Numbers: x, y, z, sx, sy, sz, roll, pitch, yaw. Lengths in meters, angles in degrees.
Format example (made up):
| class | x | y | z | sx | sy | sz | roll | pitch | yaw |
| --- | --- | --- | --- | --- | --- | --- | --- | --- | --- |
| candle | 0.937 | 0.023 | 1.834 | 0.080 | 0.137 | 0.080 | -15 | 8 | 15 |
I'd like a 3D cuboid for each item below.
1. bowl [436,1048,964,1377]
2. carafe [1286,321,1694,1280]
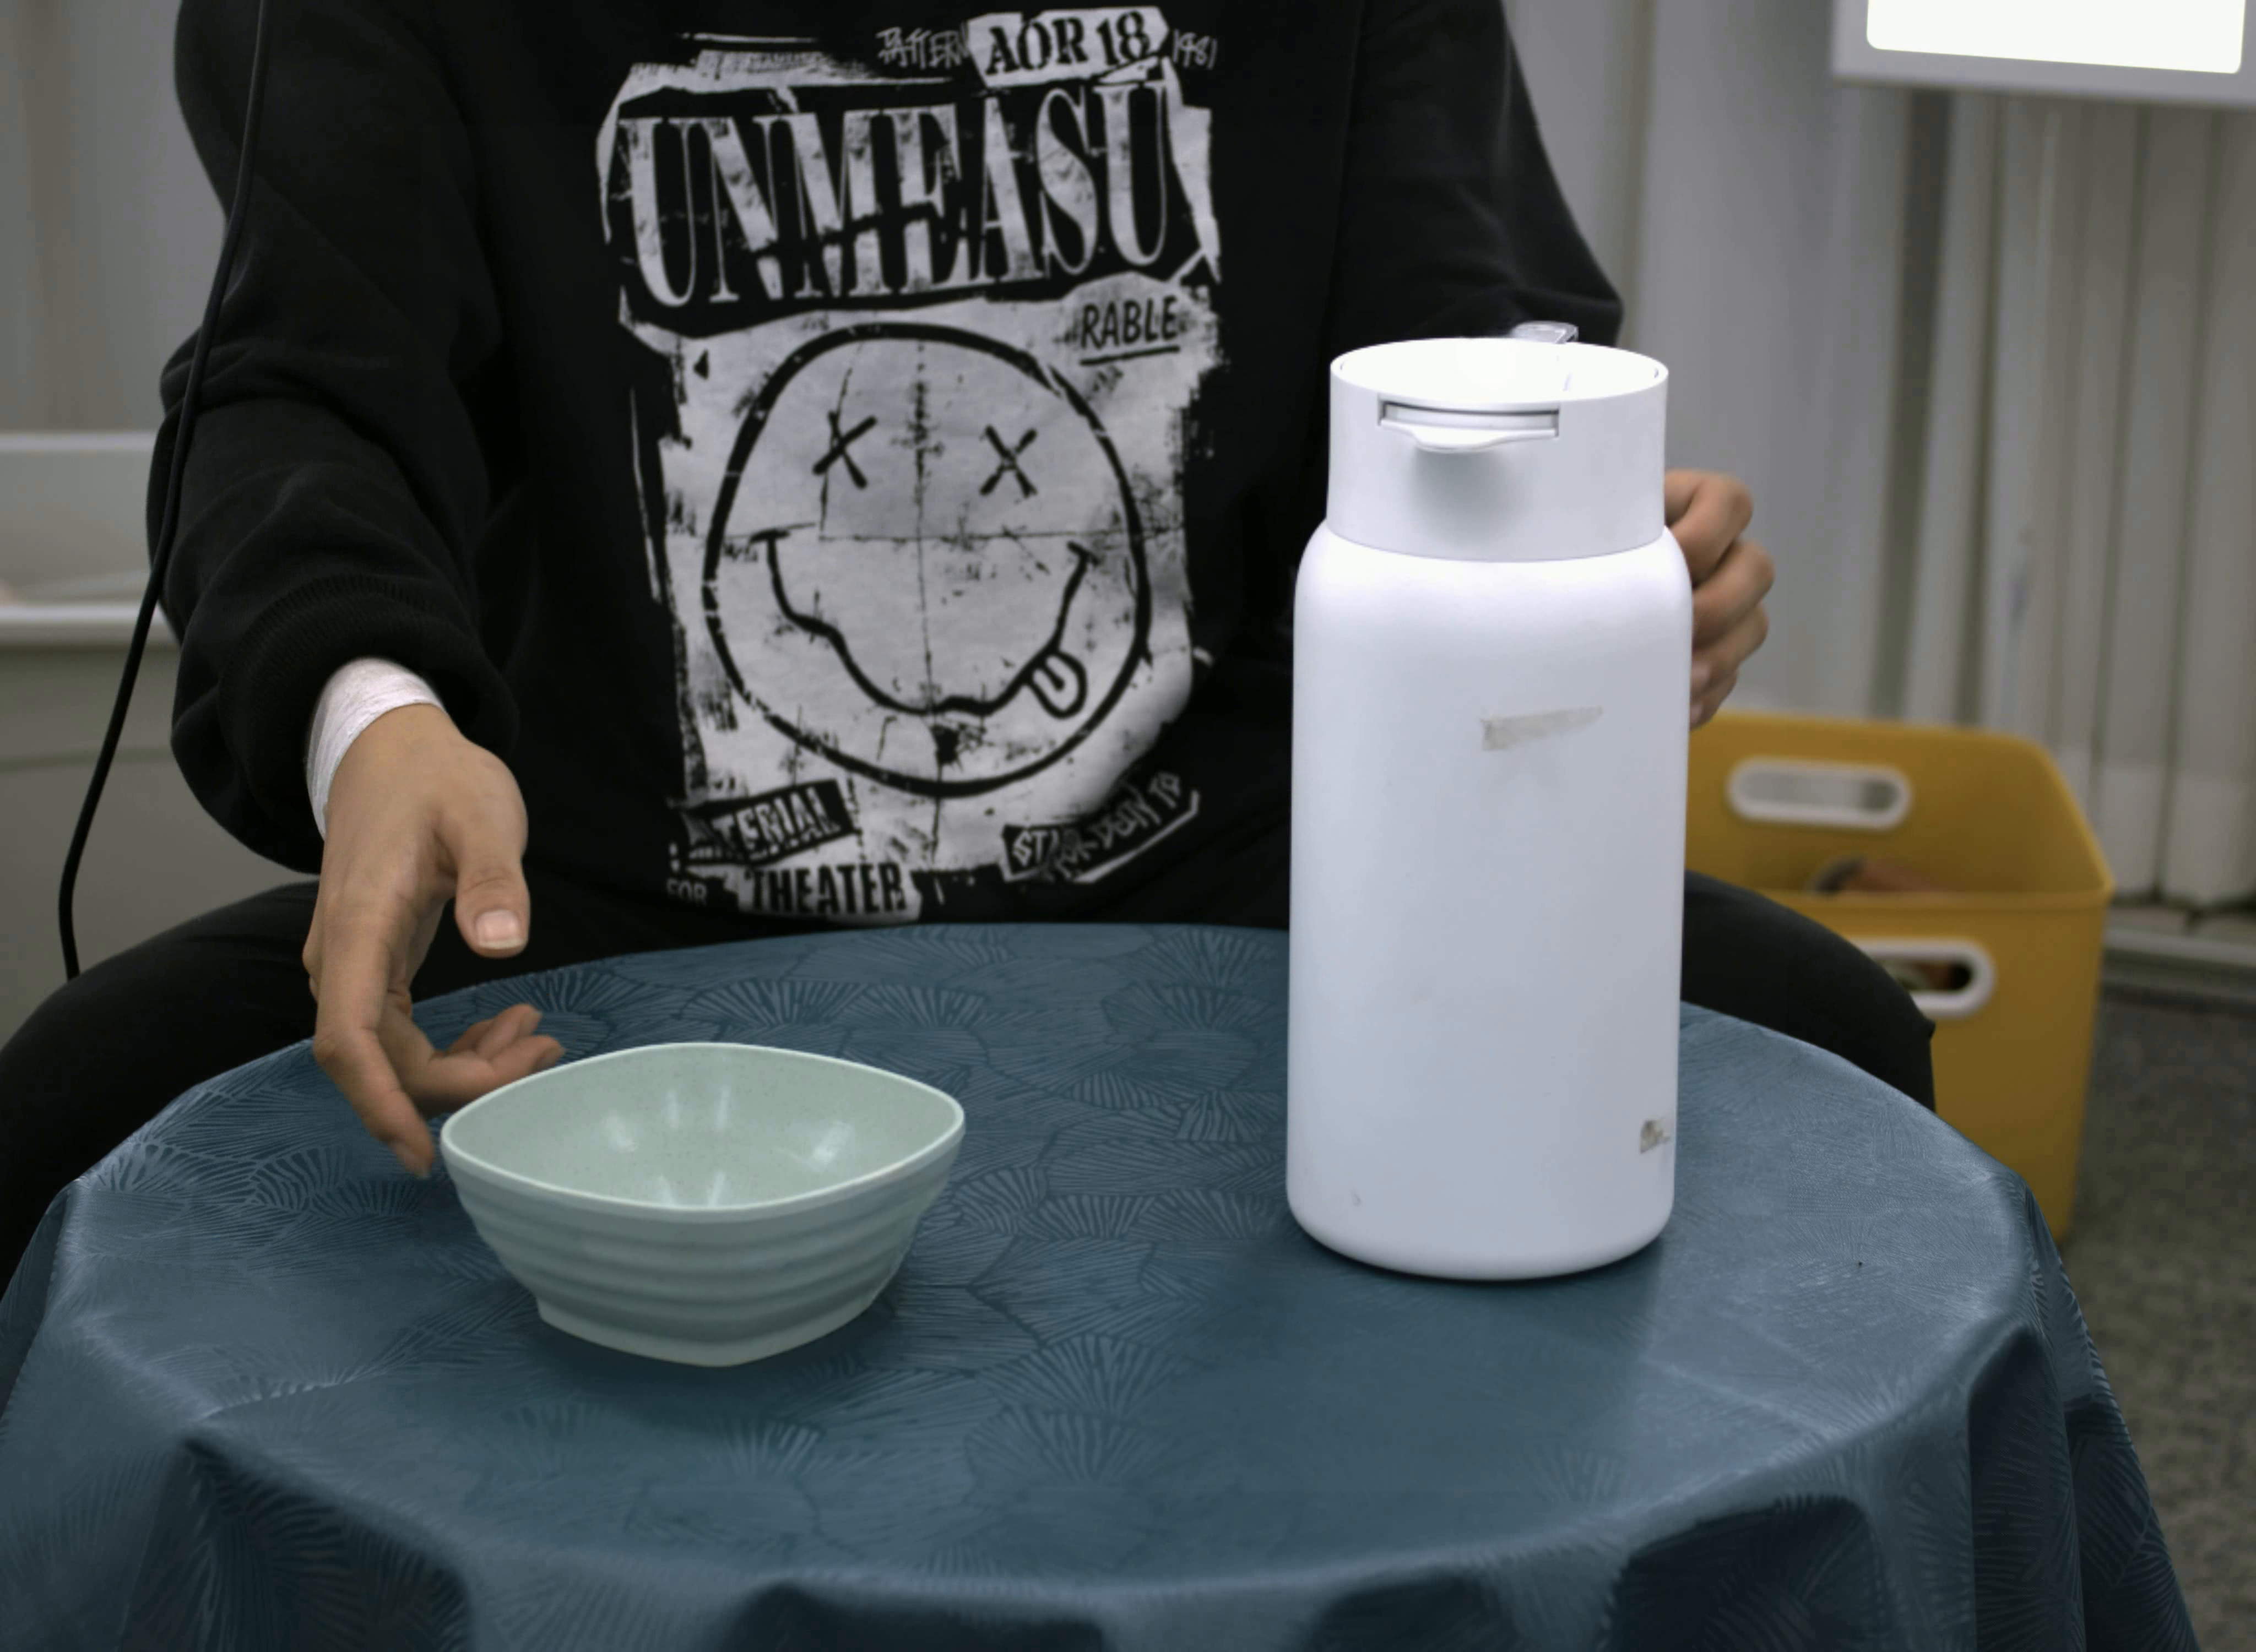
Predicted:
| class | x | y | z | sx | sy | sz | roll | pitch | yaw |
| --- | --- | --- | --- | --- | --- | --- | --- | --- | --- |
| bowl | -0.122 | 0.114 | 1.515 | 0.151 | 0.059 | 0.150 | 1 | 15 | 0 |
| carafe | 0.110 | -0.012 | 1.574 | 0.123 | 0.271 | 0.172 | 2 | 16 | 14 |
